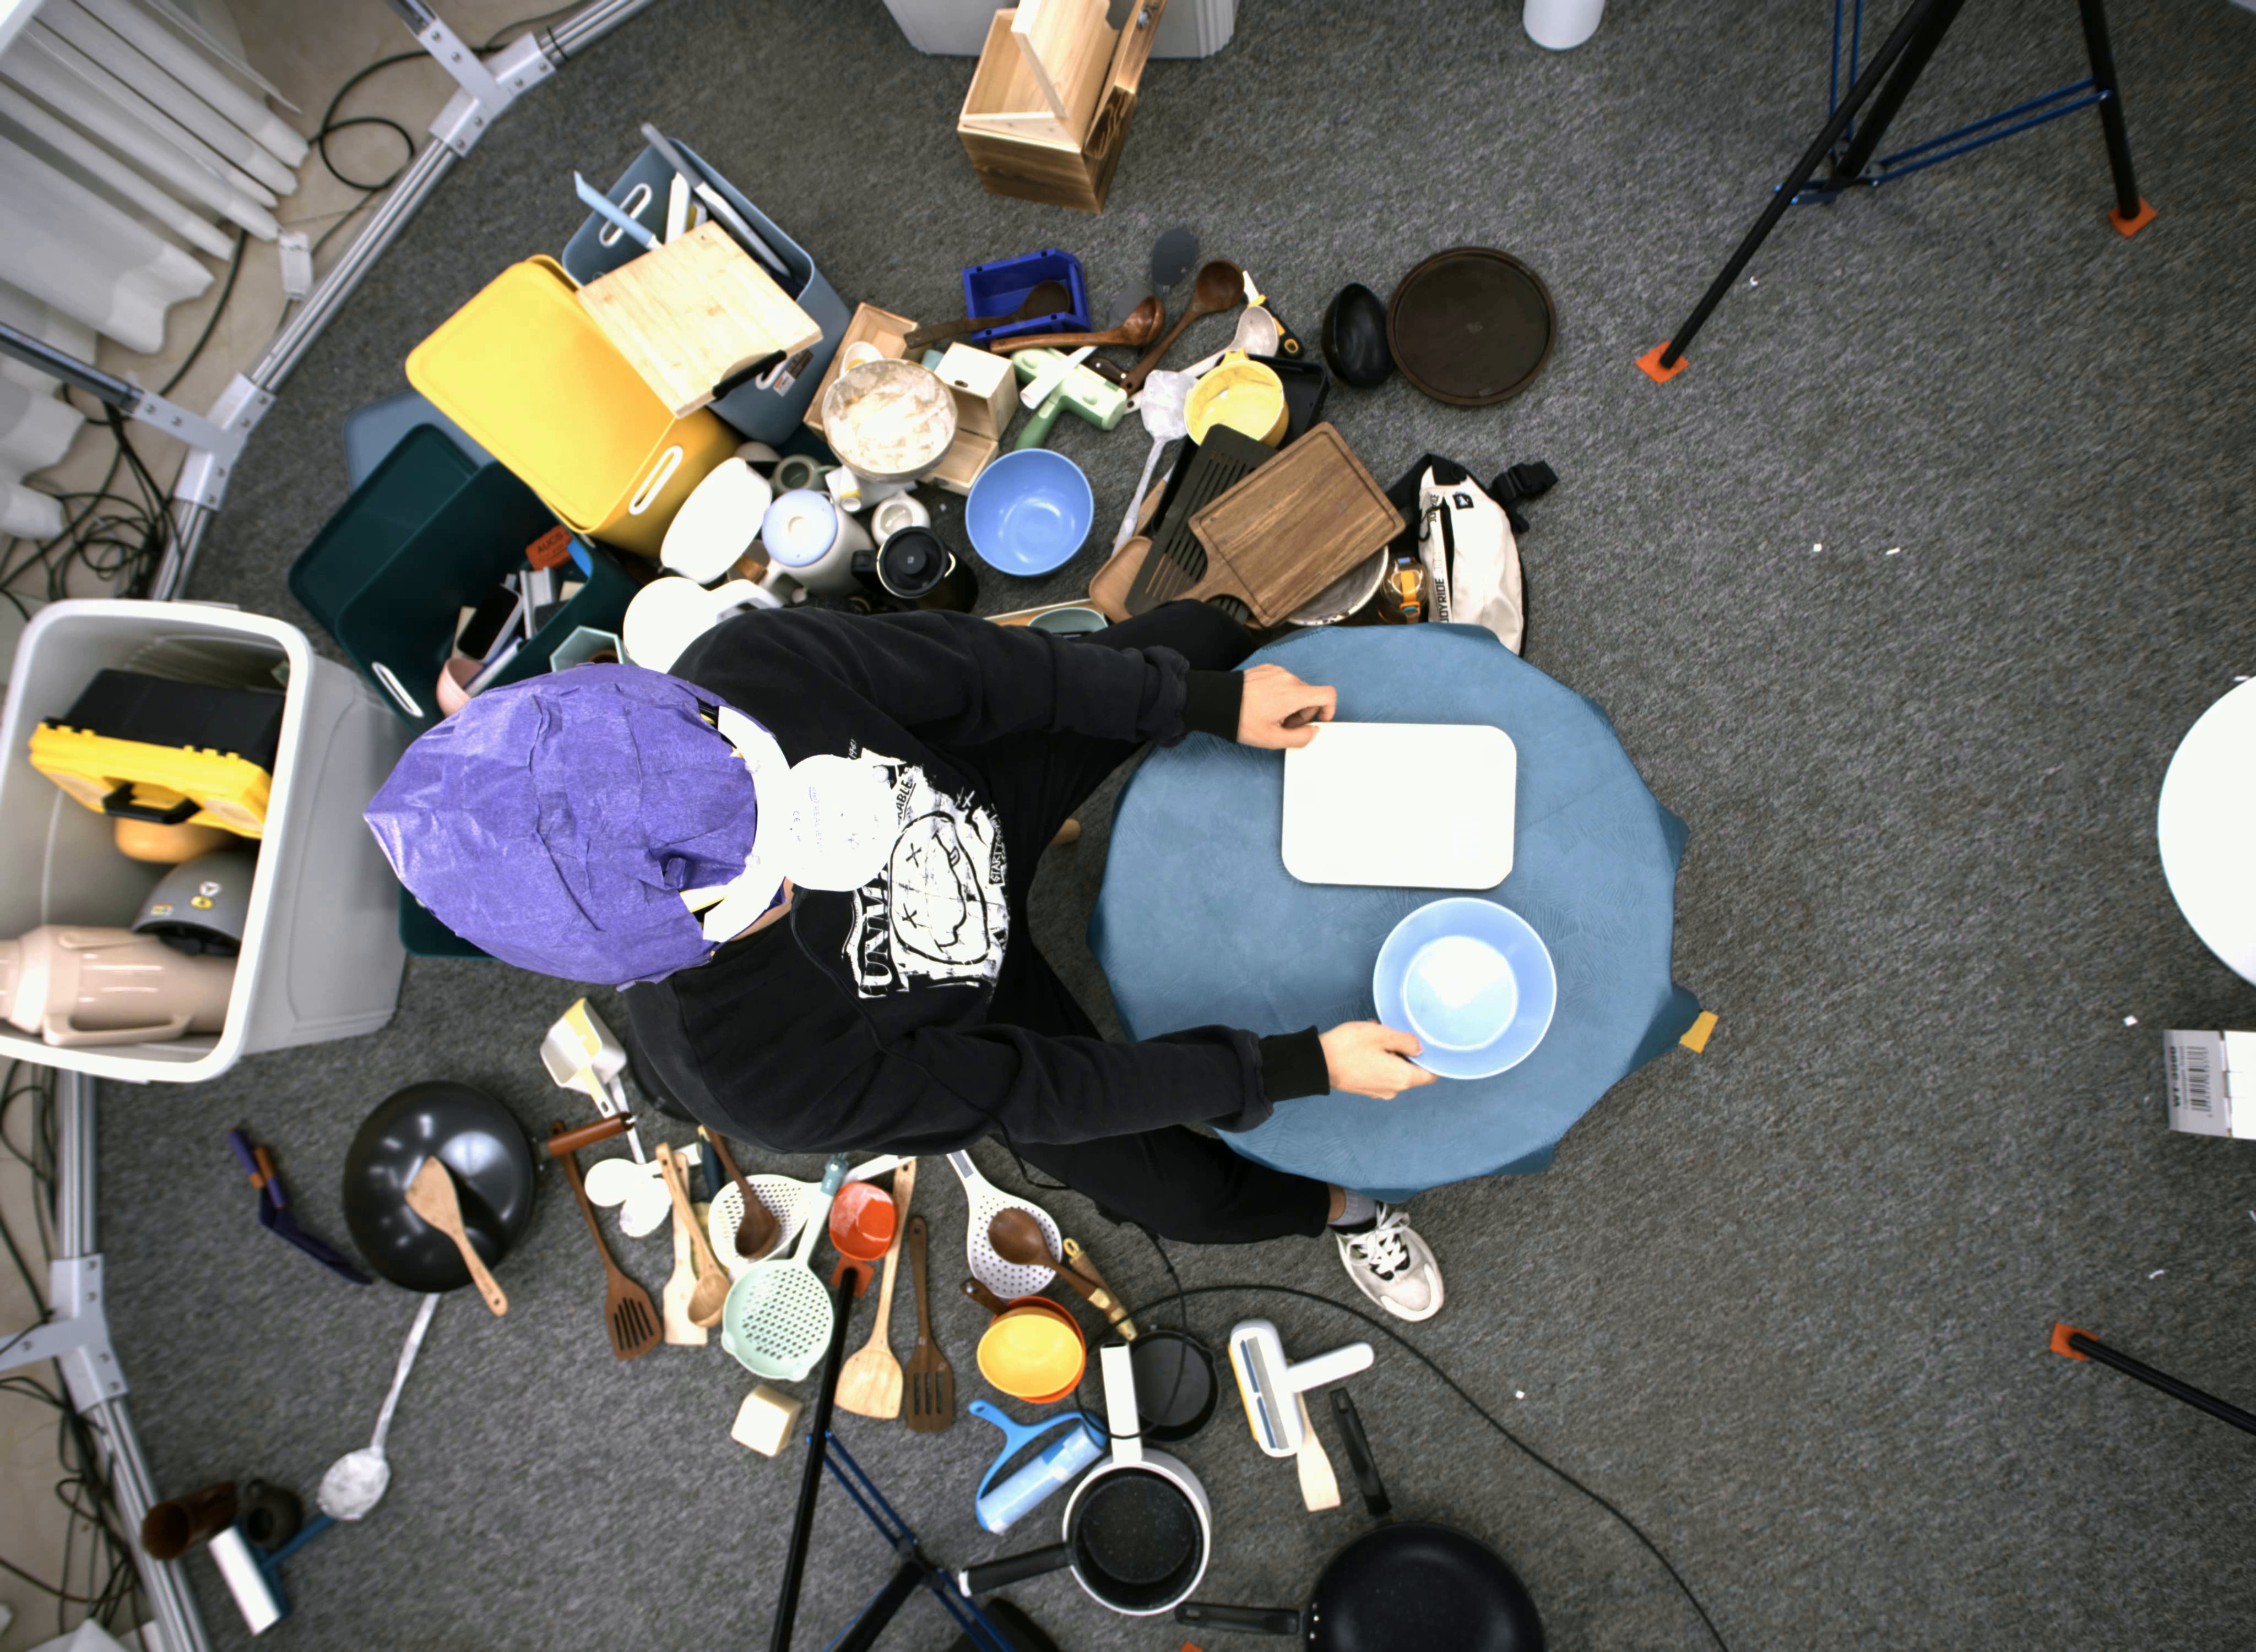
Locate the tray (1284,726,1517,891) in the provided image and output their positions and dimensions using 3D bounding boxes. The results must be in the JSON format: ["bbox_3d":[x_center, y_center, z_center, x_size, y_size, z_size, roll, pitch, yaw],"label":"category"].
[{"bbox_3d":[0.286,-0.020,1.450,0.240,0.017,0.171,2,93,9],"label":"tray"}]

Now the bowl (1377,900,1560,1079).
[{"bbox_3d":[0.336,0.164,1.373,0.177,0.071,0.174,-2,78,9],"label":"bowl"}]
